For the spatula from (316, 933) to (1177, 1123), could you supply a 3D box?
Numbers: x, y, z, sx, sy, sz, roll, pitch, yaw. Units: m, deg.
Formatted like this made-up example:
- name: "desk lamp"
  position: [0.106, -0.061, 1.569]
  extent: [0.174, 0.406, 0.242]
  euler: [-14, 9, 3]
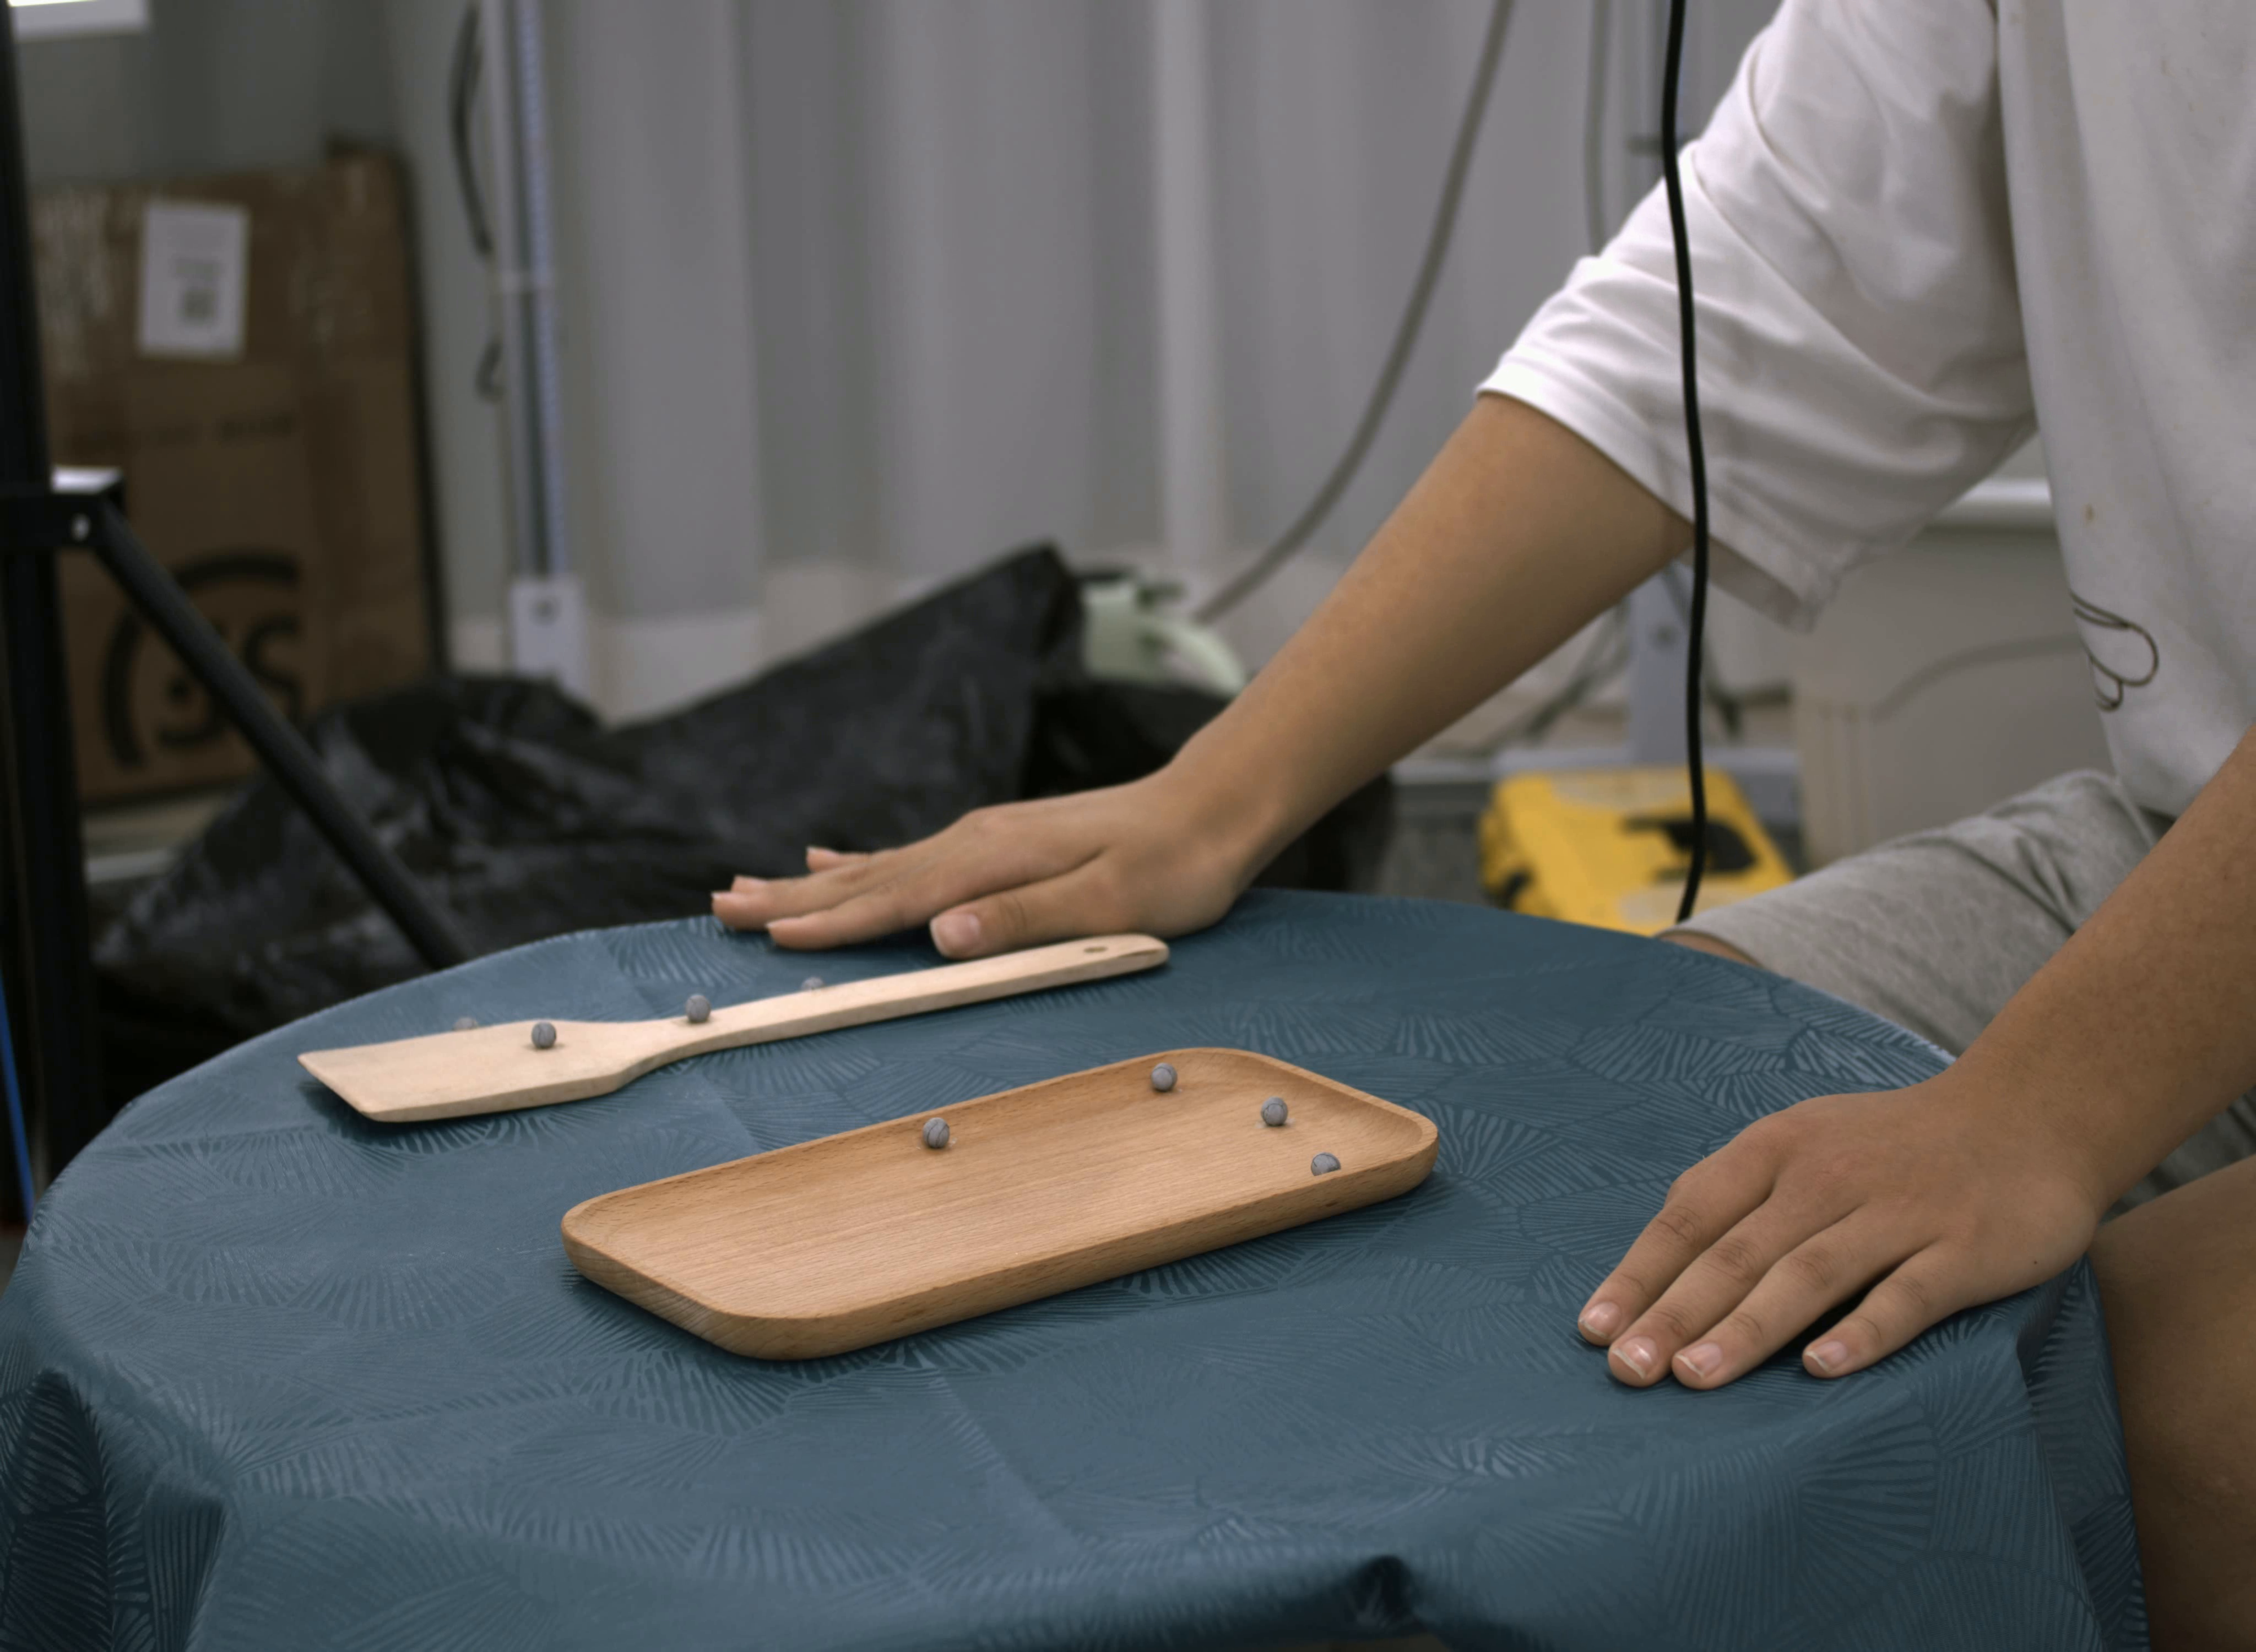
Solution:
- name: "spatula"
  position: [-0.116, 0.062, 1.722]
  extent: [0.287, 0.010, 0.074]
  euler: [-10, 16, -24]

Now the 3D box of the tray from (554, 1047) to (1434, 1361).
- name: "tray"
  position: [-0.036, 0.108, 1.538]
  extent: [0.245, 0.023, 0.133]
  euler: [-13, 17, -32]
